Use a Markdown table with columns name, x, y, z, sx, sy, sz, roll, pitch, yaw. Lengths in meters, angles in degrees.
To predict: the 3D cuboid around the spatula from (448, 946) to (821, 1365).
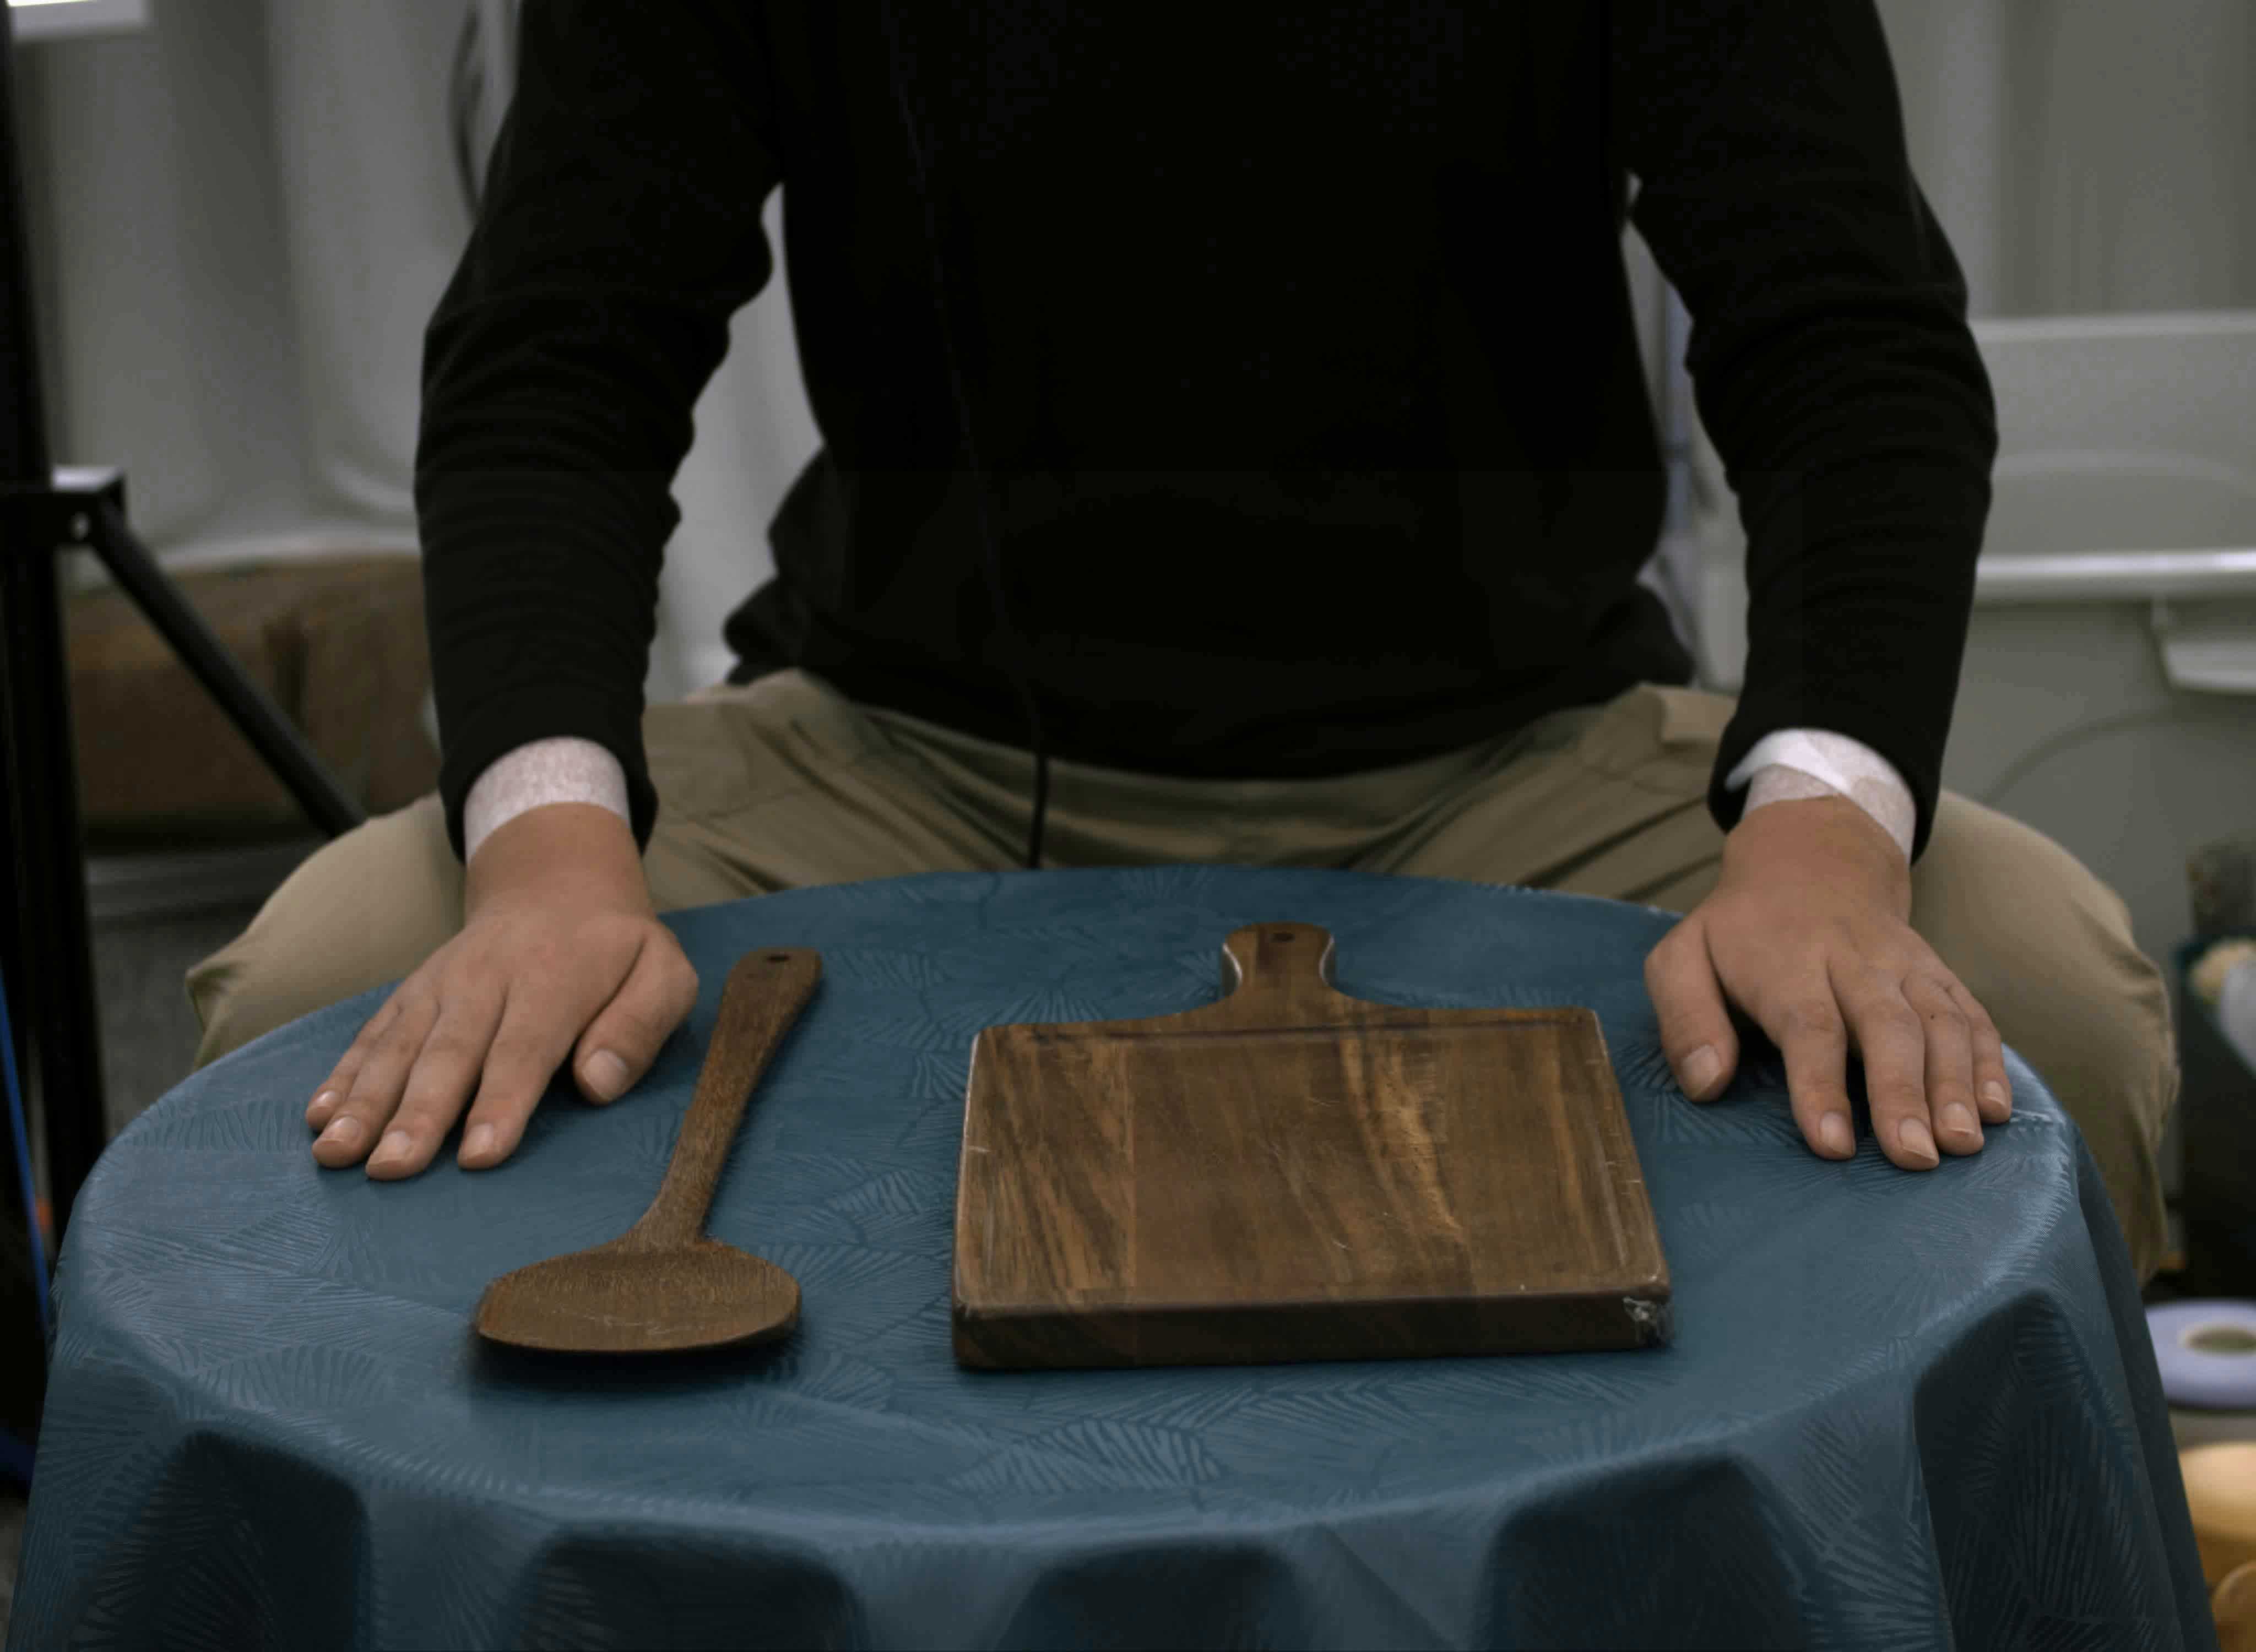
| name | x | y | z | sx | sy | sz | roll | pitch | yaw |
| --- | --- | --- | --- | --- | --- | --- | --- | --- | --- |
| spatula | -0.127 | 0.093 | 1.606 | 0.096 | 0.016 | 0.386 | -1 | 16 | 4 |

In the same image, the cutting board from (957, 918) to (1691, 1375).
| name | x | y | z | sx | sy | sz | roll | pitch | yaw |
| --- | --- | --- | --- | --- | --- | --- | --- | --- | --- |
| cutting board | 0.050 | 0.088 | 1.582 | 0.200 | 0.023 | 0.353 | -2 | 16 | 1 |
